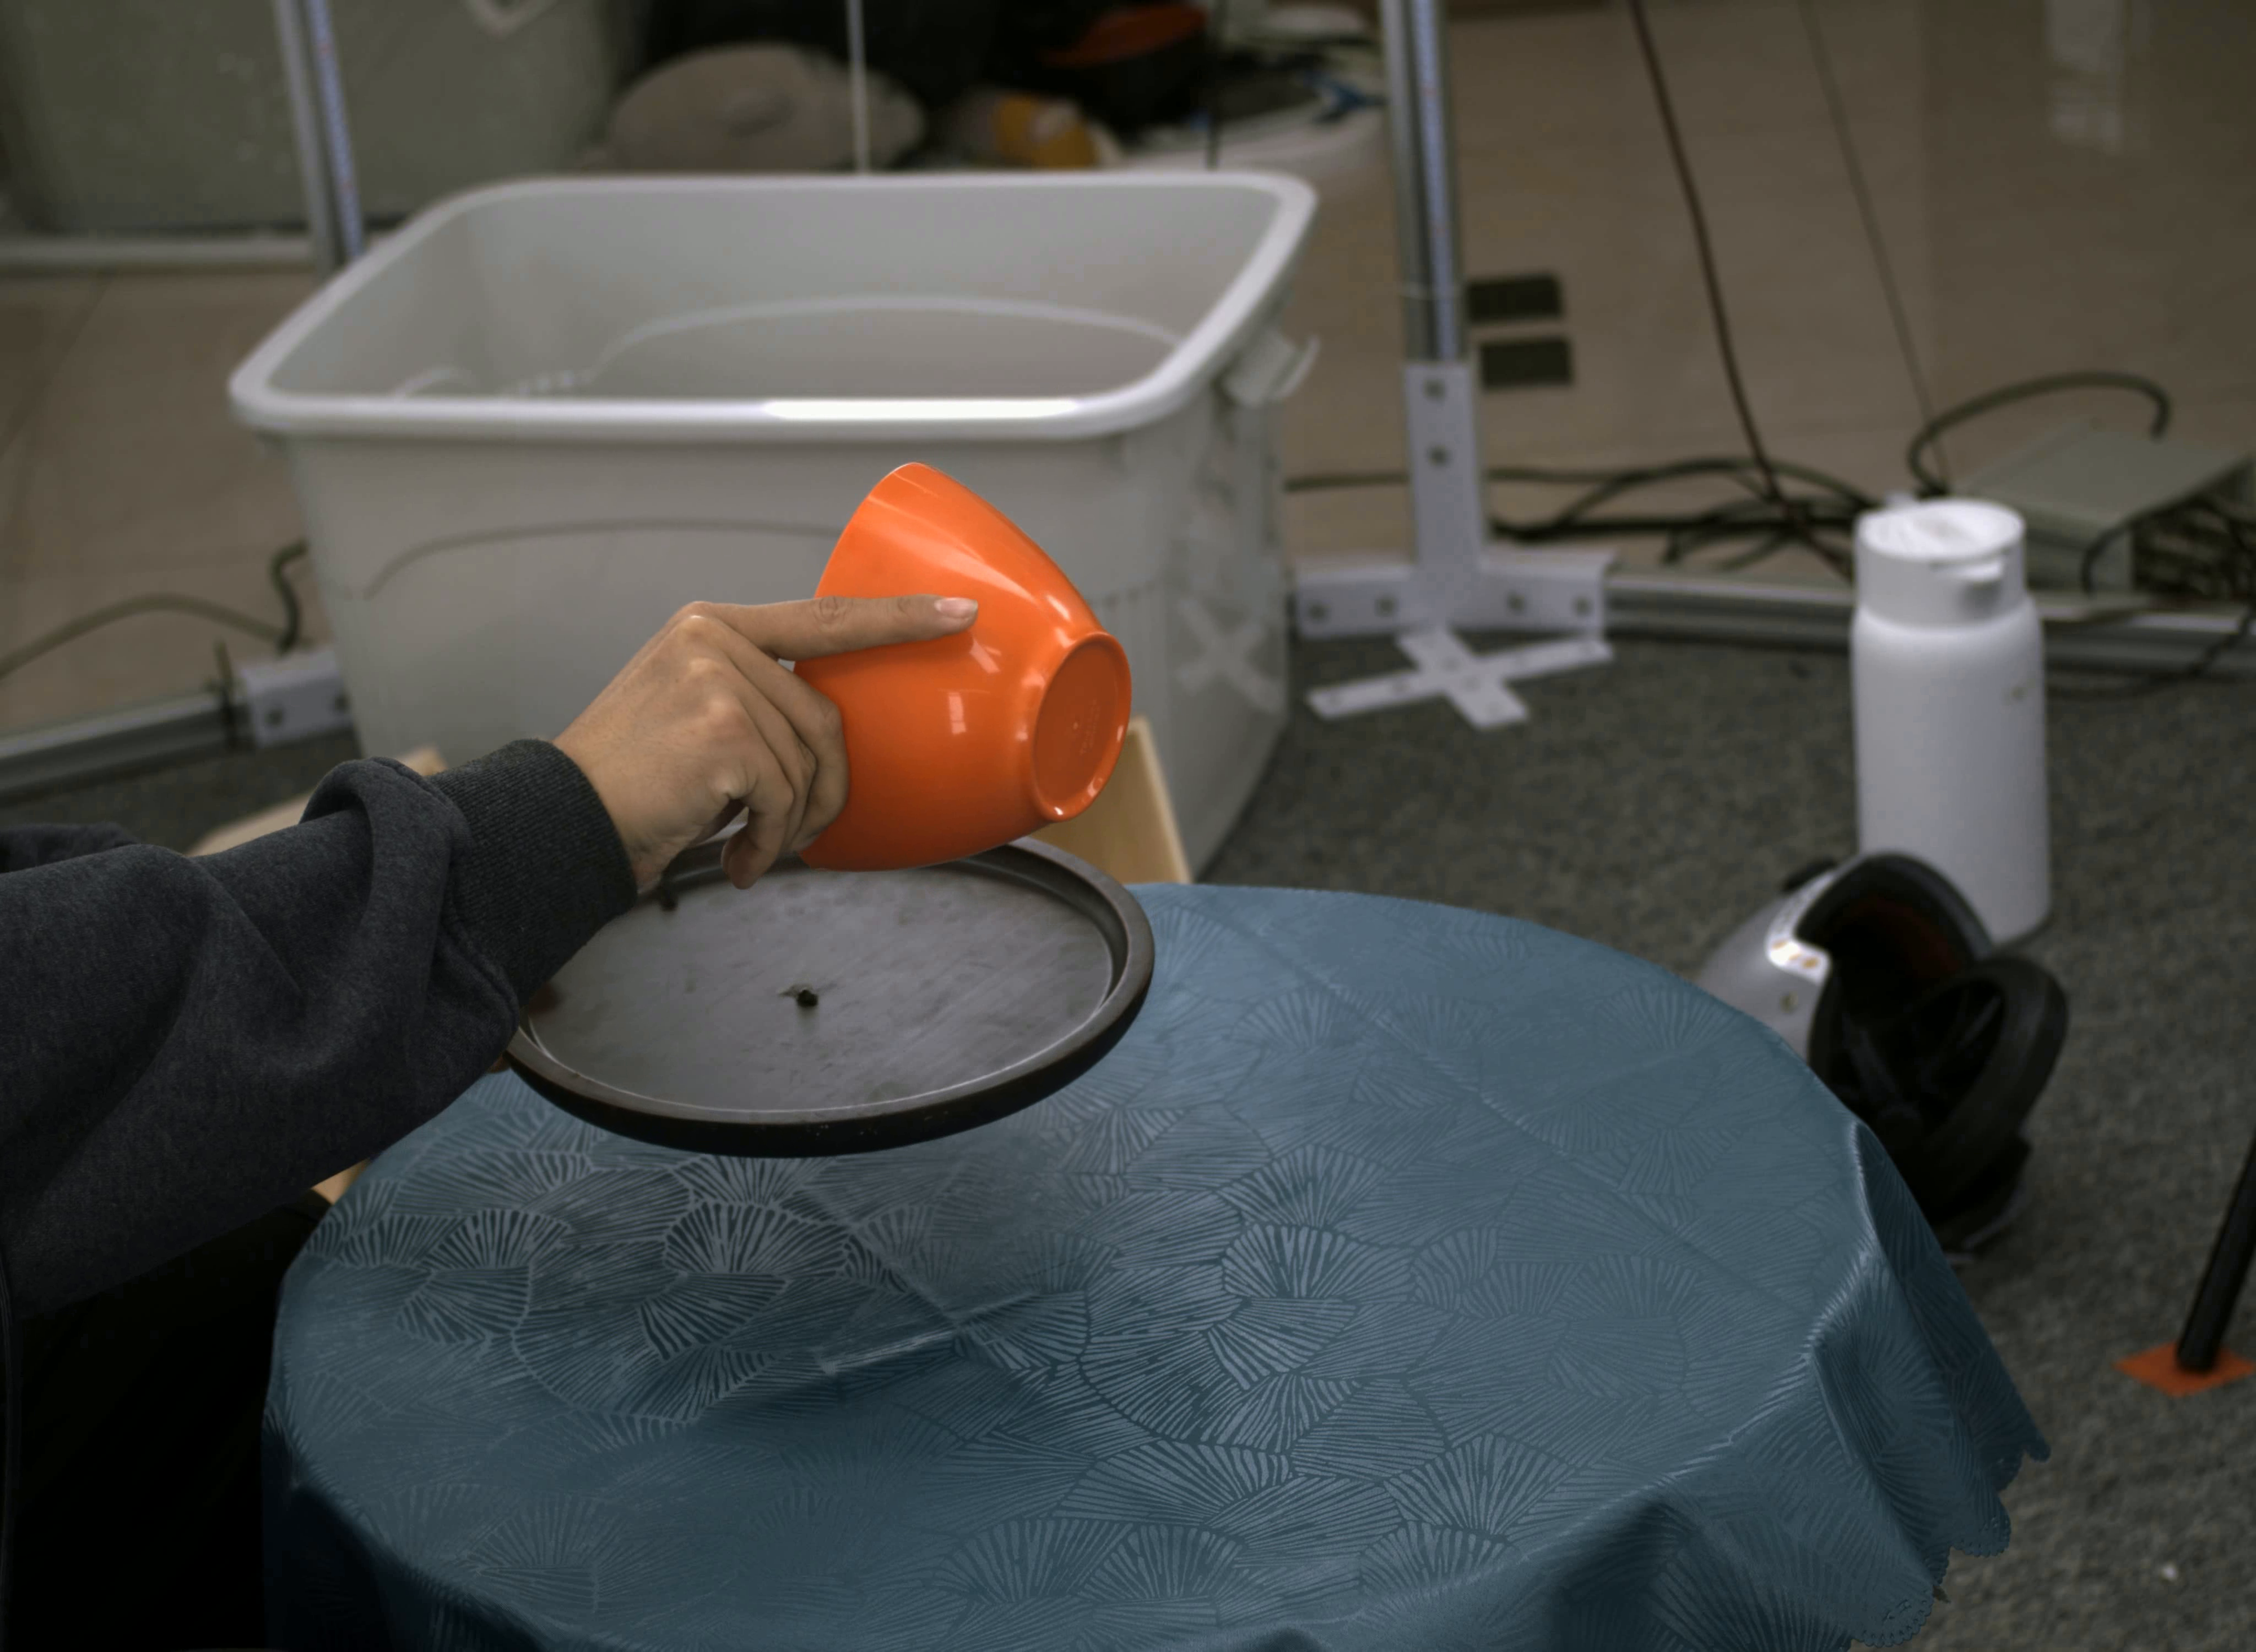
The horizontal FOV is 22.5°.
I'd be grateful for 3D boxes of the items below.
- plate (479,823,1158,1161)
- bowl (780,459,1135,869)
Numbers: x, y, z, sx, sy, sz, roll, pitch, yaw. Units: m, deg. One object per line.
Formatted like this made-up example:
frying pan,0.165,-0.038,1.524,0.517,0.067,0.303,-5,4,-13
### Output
plate,-0.115,0.059,2.118,0.254,0.029,0.251,-2,27,1
bowl,-0.053,-0.046,1.958,0.104,0.150,0.146,18,33,27
